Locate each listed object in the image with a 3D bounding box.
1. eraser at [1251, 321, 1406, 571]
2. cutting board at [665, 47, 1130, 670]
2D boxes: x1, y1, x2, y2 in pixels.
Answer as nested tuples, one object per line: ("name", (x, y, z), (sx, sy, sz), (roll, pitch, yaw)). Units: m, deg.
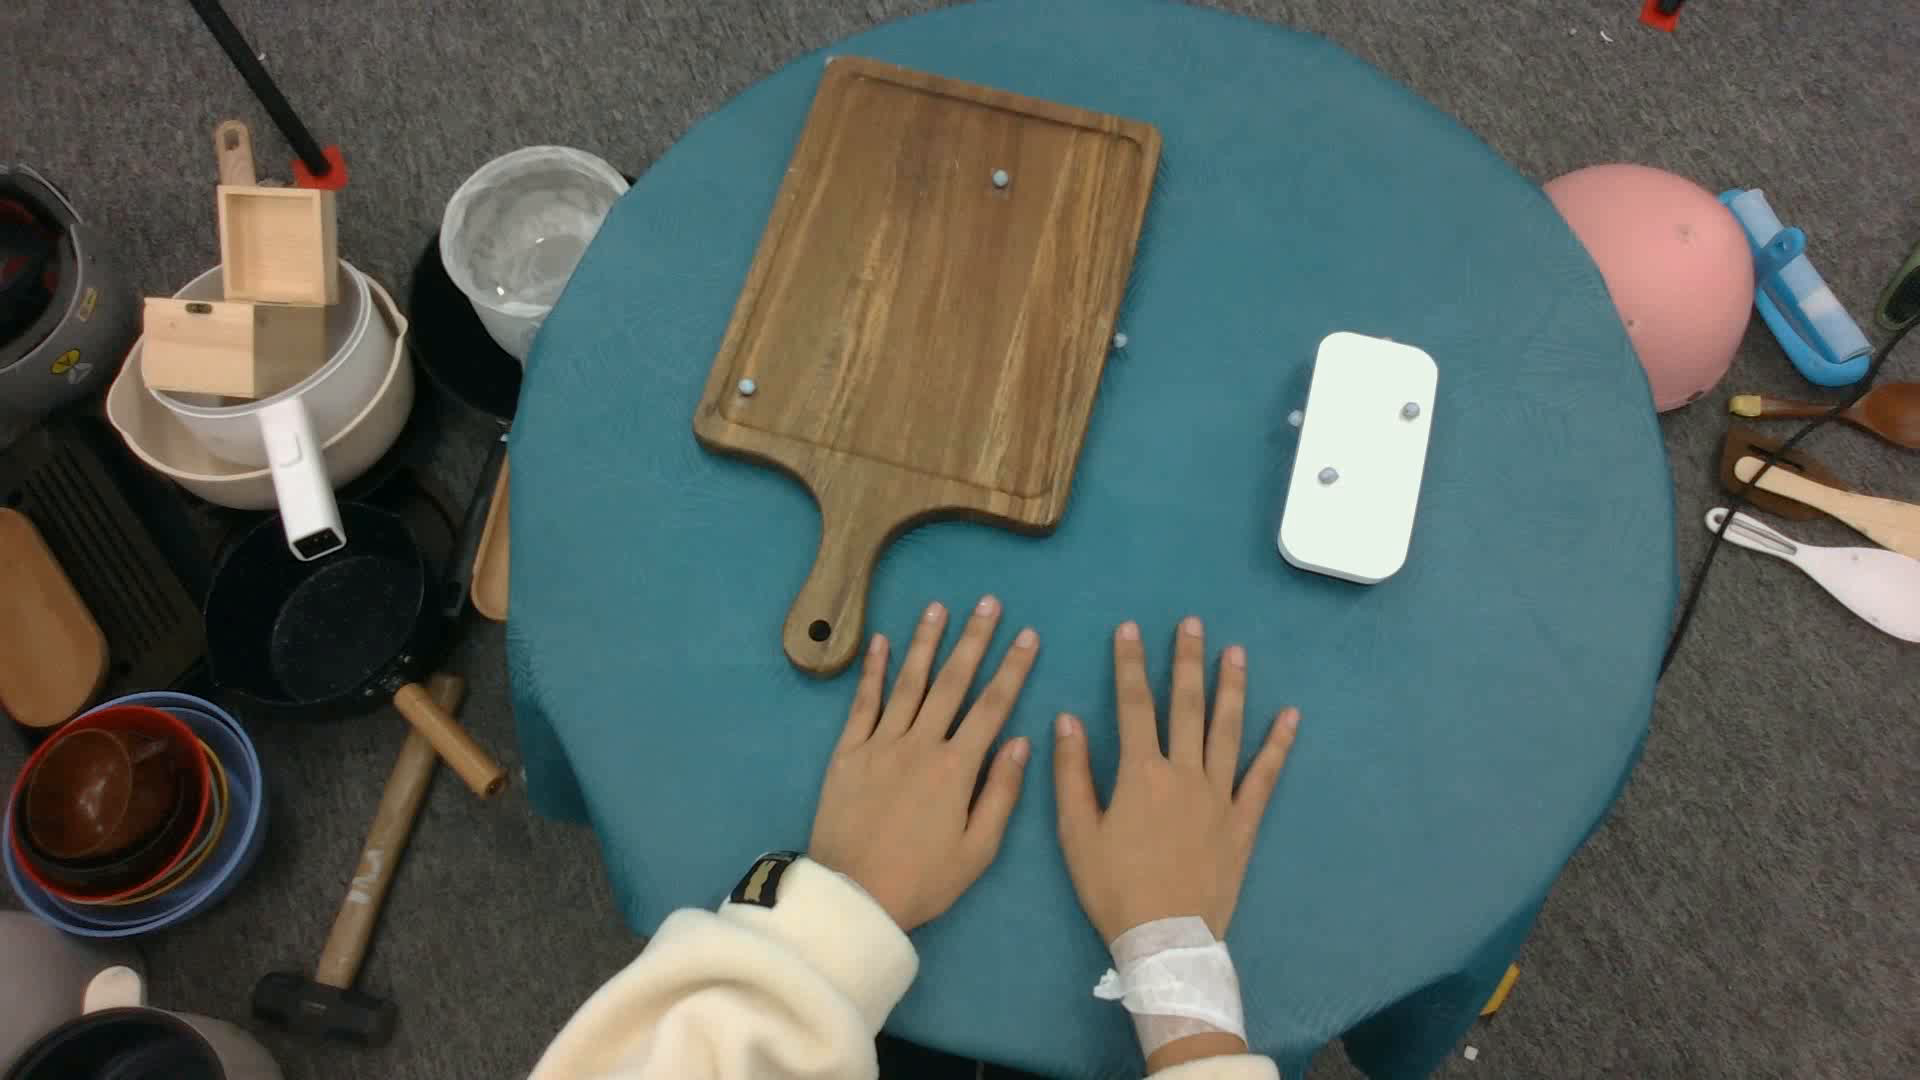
("eraser", (0.186, -0.050, 0.702), (0.063, 0.034, 0.132), (15, 69, 4))
("cutting board", (-0.039, -0.101, 0.720), (0.201, 0.023, 0.353), (13, 69, 4))
